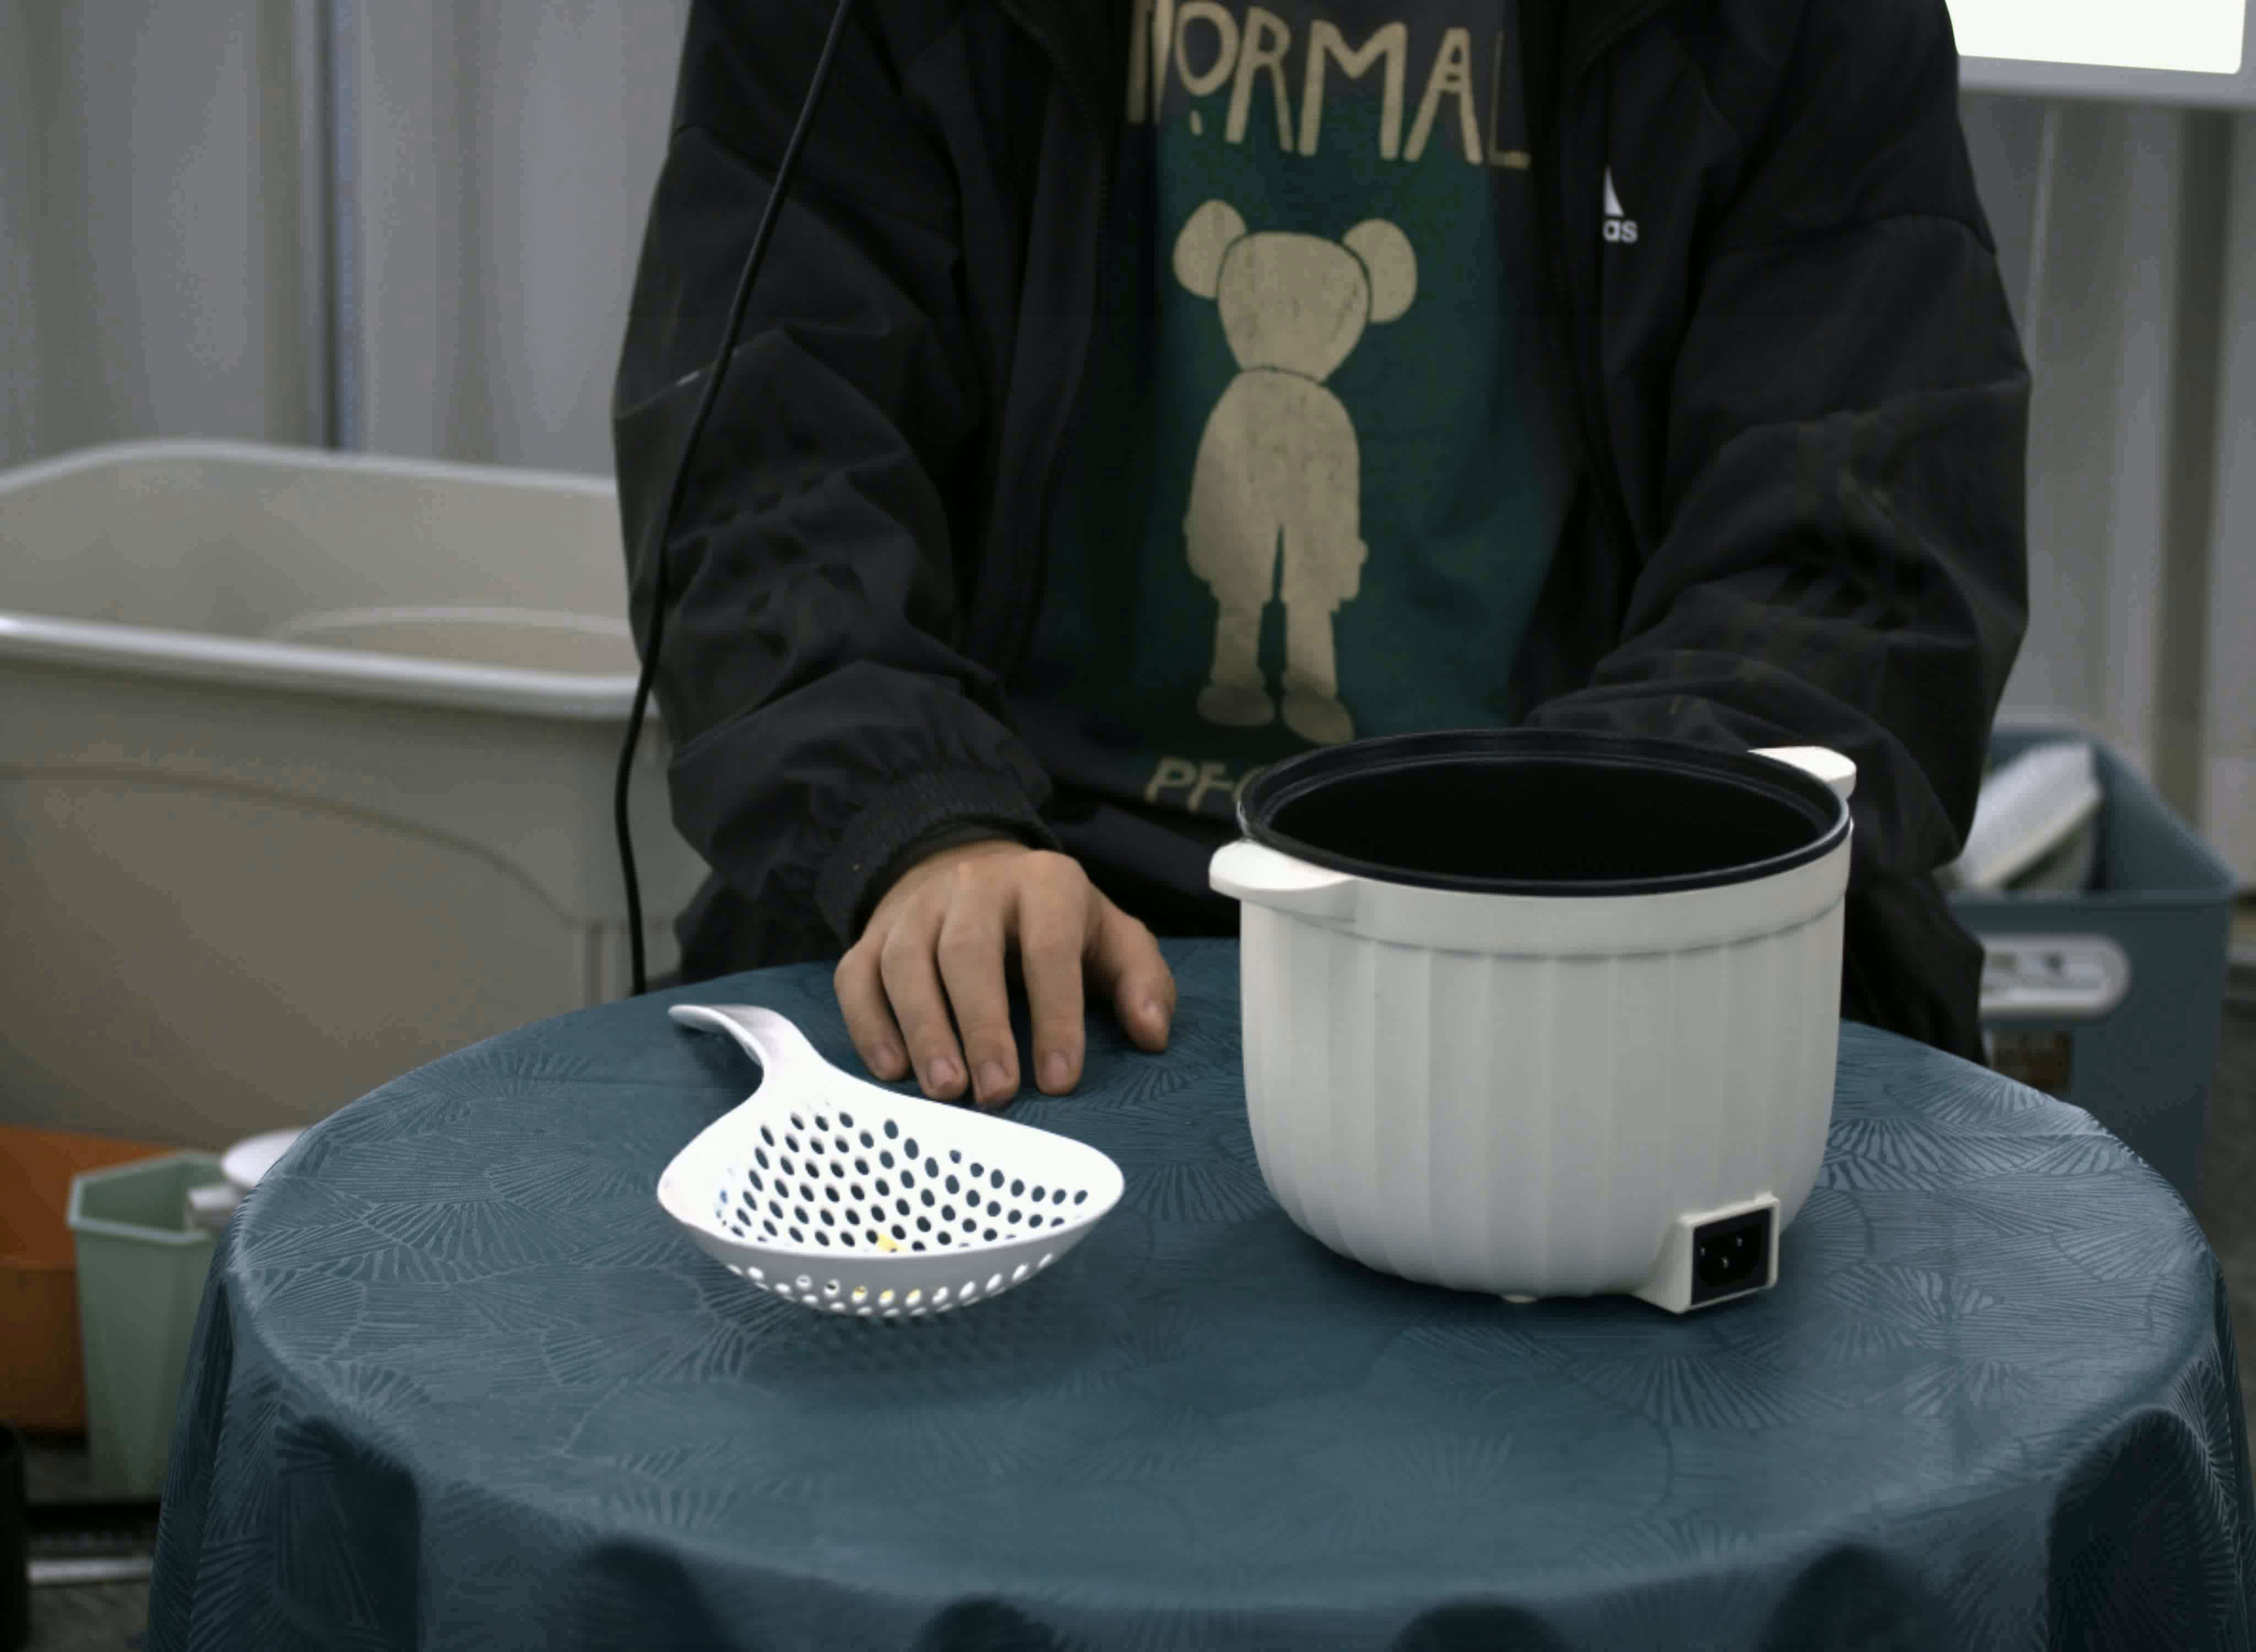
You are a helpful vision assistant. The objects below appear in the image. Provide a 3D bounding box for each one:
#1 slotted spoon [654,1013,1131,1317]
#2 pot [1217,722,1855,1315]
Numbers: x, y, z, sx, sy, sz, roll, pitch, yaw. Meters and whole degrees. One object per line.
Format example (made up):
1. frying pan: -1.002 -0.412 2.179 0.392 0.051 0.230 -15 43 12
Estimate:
1. slotted spoon: -0.098 0.090 1.623 0.137 0.051 0.344 -5 17 -16
2. pot: 0.118 0.055 1.575 0.241 0.144 0.188 -10 22 -37
